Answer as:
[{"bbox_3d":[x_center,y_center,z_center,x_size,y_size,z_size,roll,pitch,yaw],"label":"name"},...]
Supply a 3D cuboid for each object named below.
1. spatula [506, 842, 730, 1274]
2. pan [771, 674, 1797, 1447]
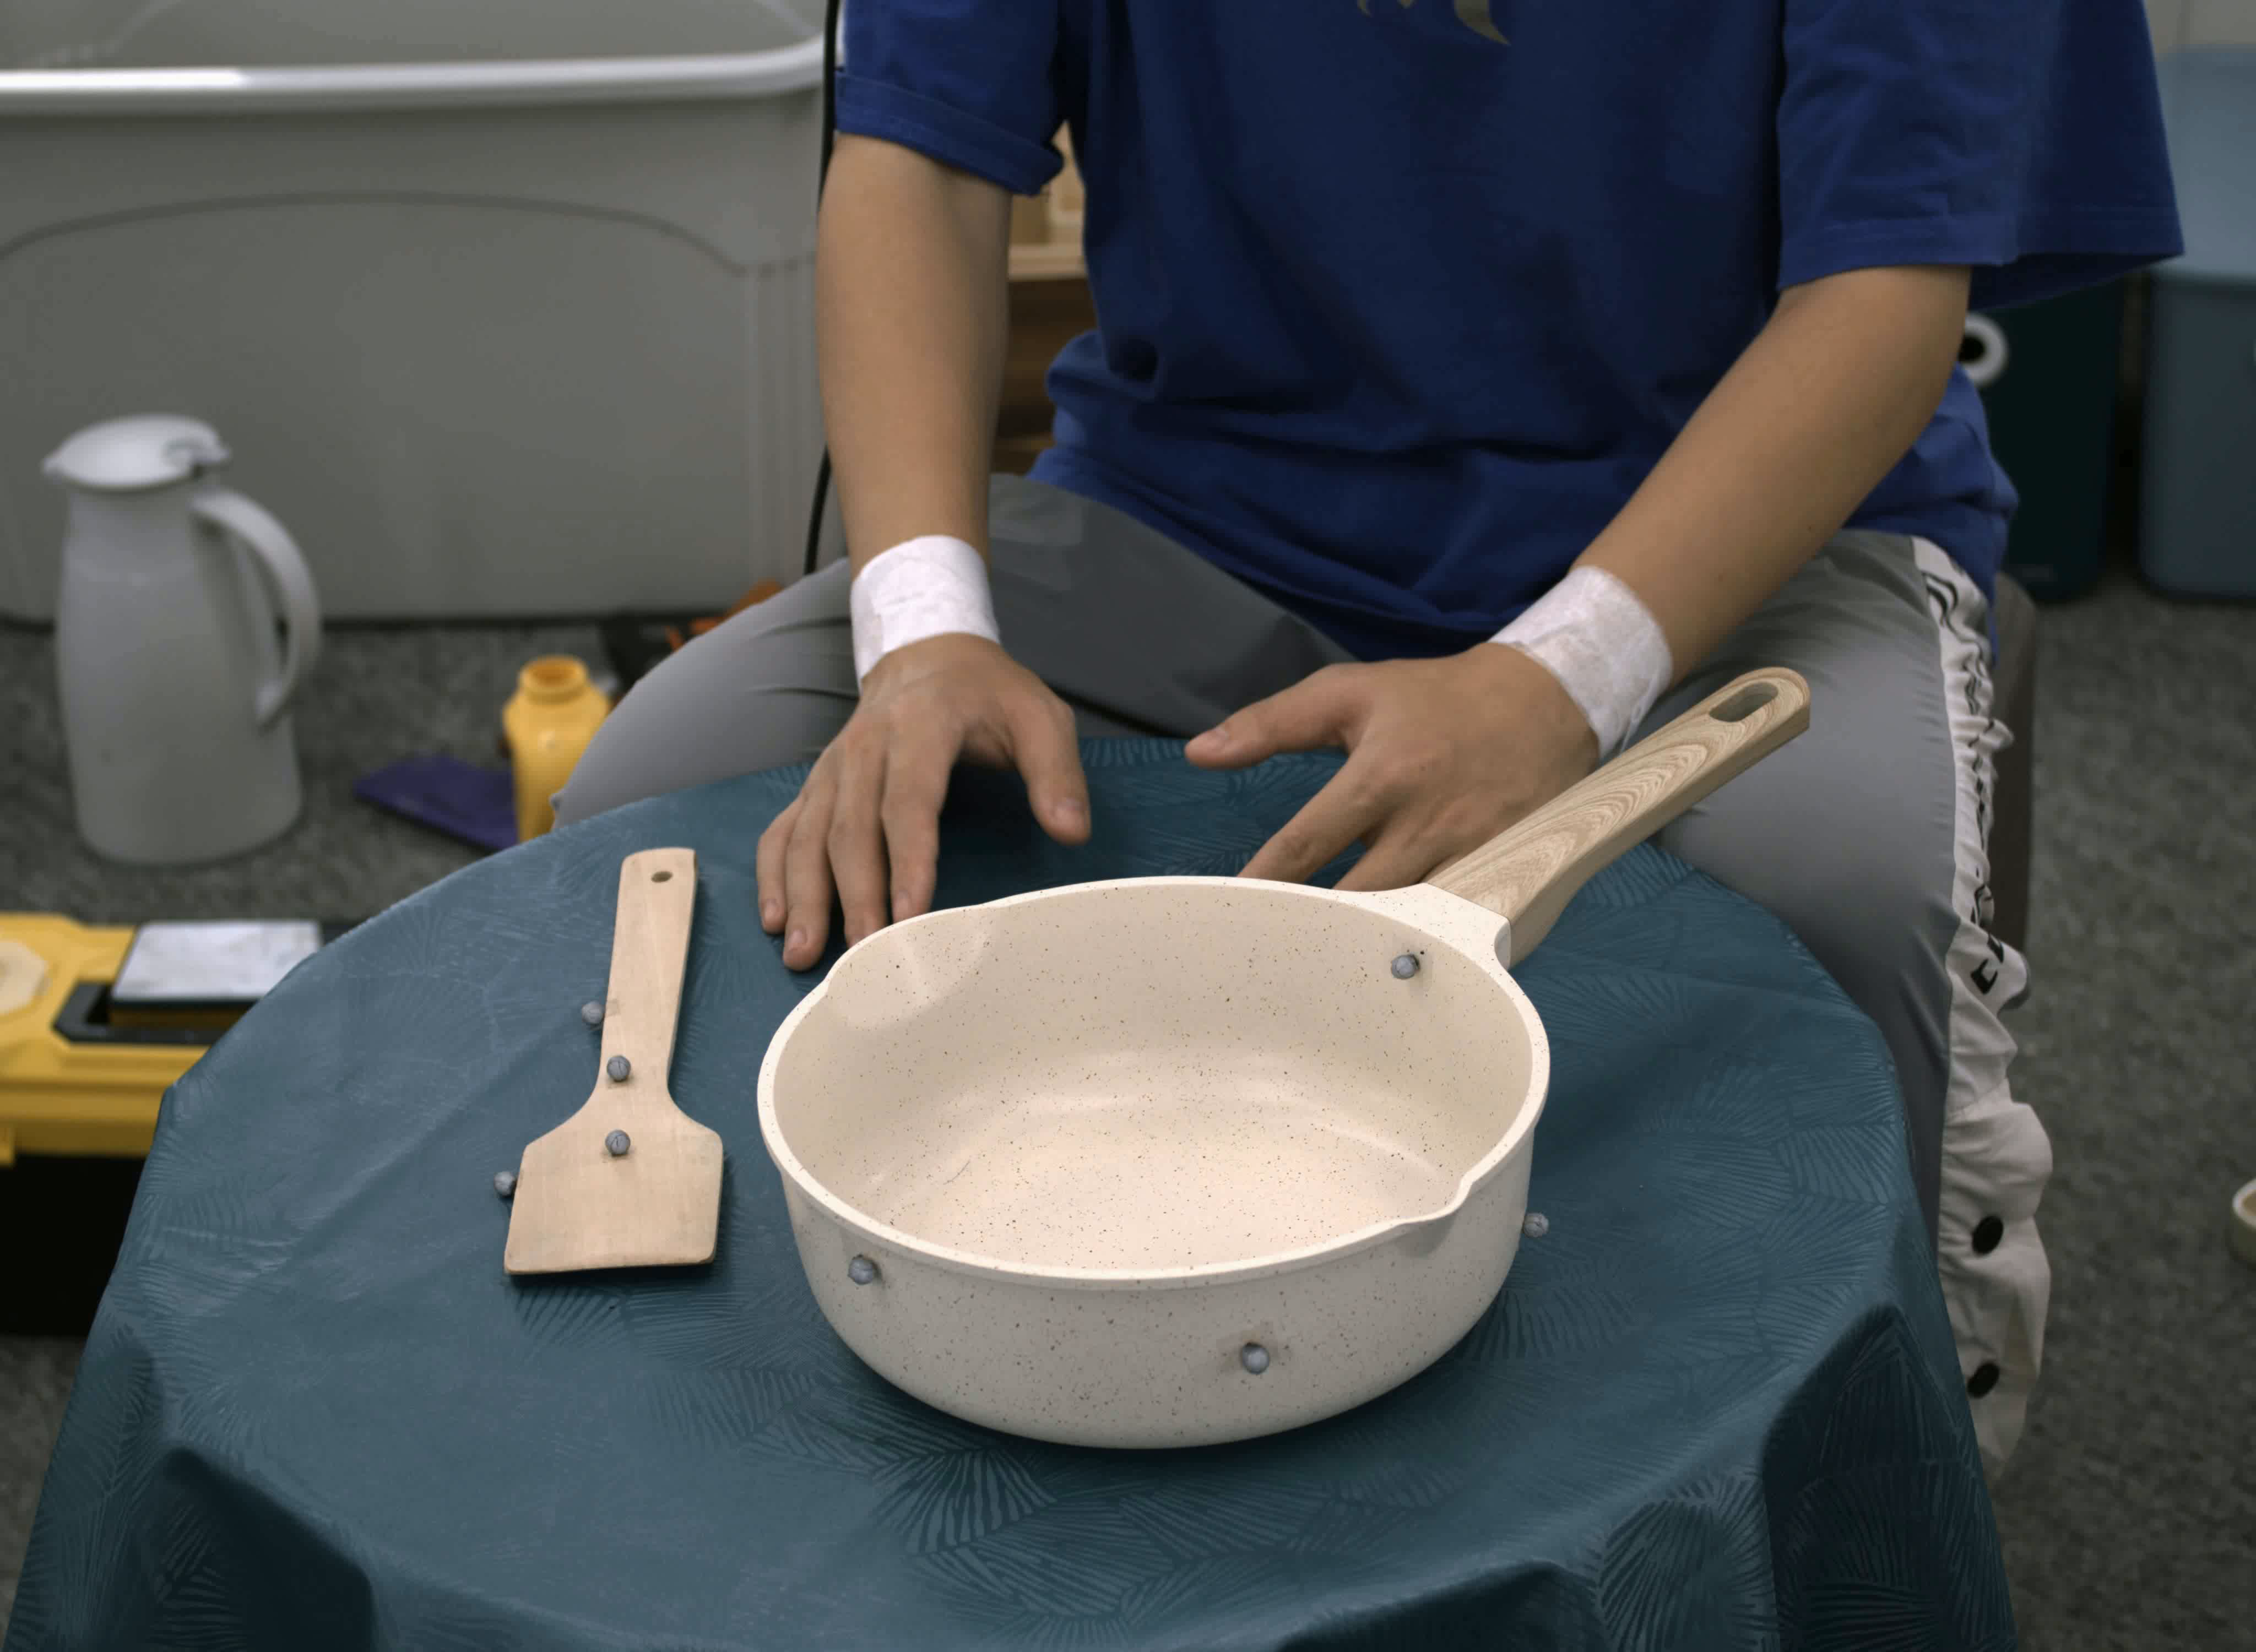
[{"bbox_3d":[-0.170,0.077,1.953,0.072,0.010,0.297,-4,28,1],"label":"spatula"},{"bbox_3d":[0.078,0.071,1.842,0.263,0.101,0.440,21,35,41],"label":"pan"}]
